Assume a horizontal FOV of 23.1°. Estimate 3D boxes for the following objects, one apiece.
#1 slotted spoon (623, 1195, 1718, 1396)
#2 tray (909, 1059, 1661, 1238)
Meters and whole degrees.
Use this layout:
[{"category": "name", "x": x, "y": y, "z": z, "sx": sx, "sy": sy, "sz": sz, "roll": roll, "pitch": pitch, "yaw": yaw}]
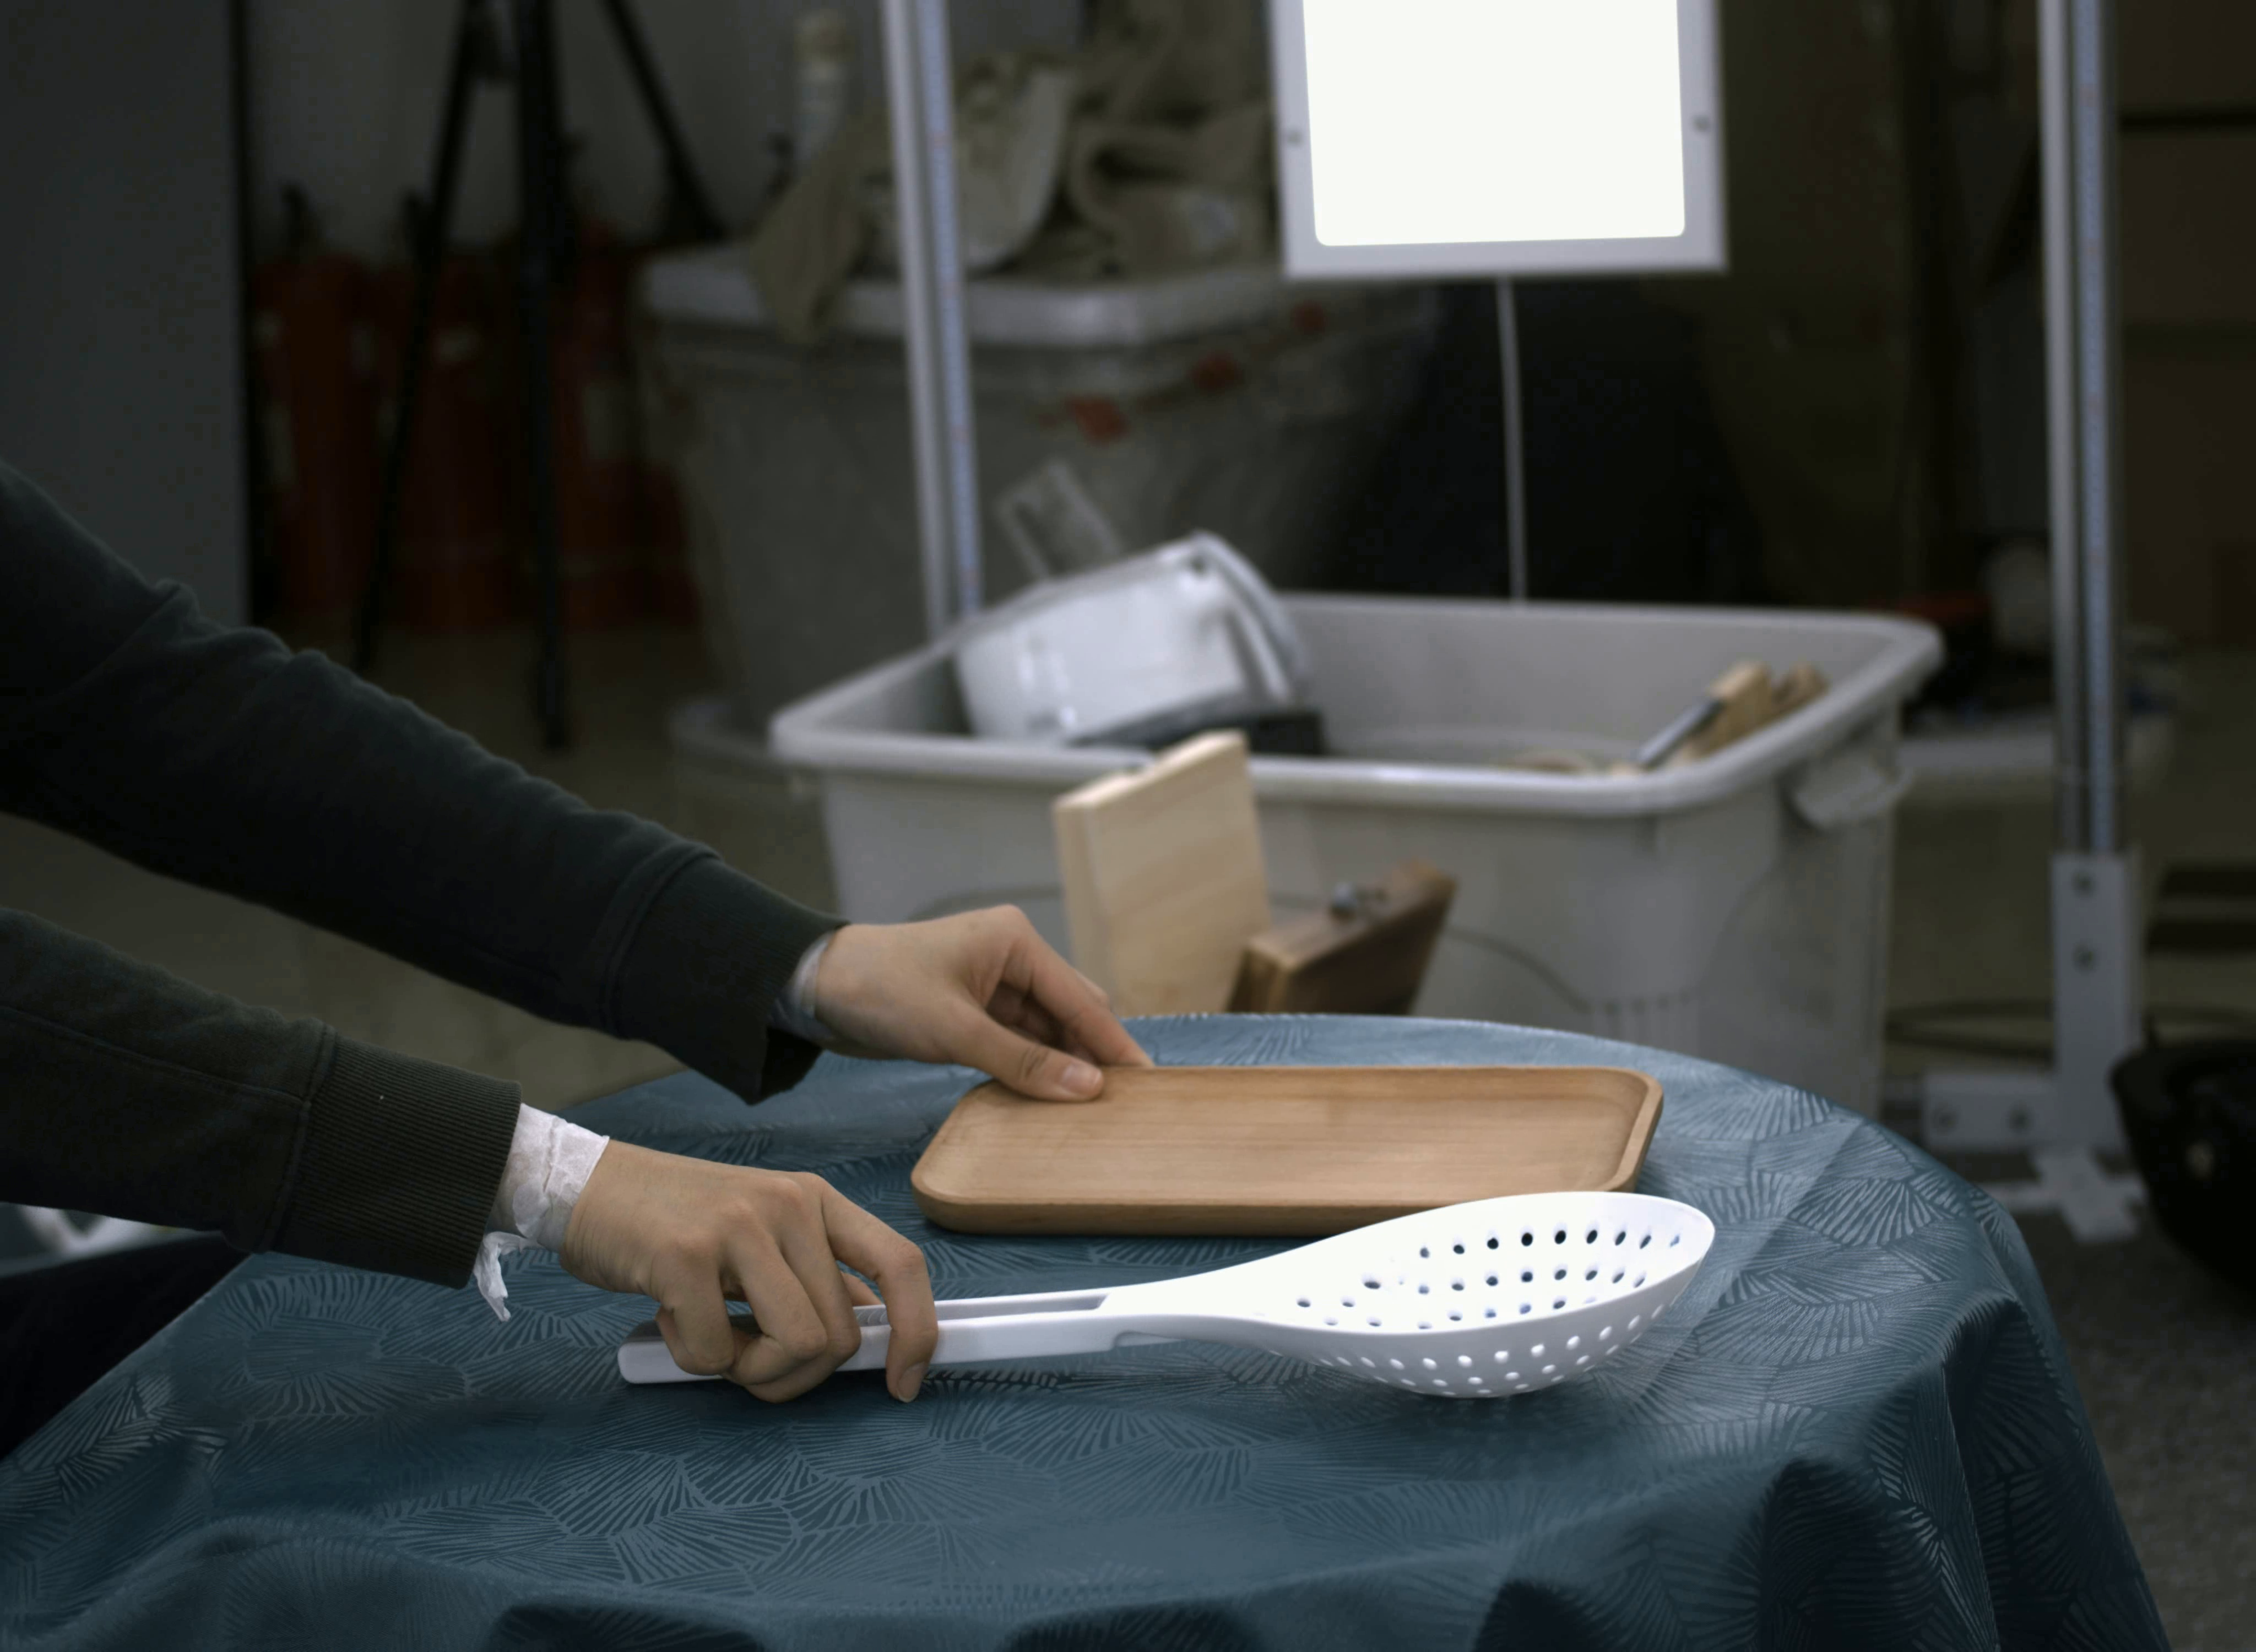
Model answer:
[{"category": "slotted spoon", "x": 0.010, "y": 0.150, "z": 1.702, "sx": 0.353, "sy": 0.046, "sz": 0.134, "roll": -2, "pitch": 11, "yaw": 16}, {"category": "tray", "x": 0.055, "y": 0.111, "z": 1.888, "sx": 0.253, "sy": 0.023, "sz": 0.128, "roll": -2, "pitch": 17, "yaw": 17}]
